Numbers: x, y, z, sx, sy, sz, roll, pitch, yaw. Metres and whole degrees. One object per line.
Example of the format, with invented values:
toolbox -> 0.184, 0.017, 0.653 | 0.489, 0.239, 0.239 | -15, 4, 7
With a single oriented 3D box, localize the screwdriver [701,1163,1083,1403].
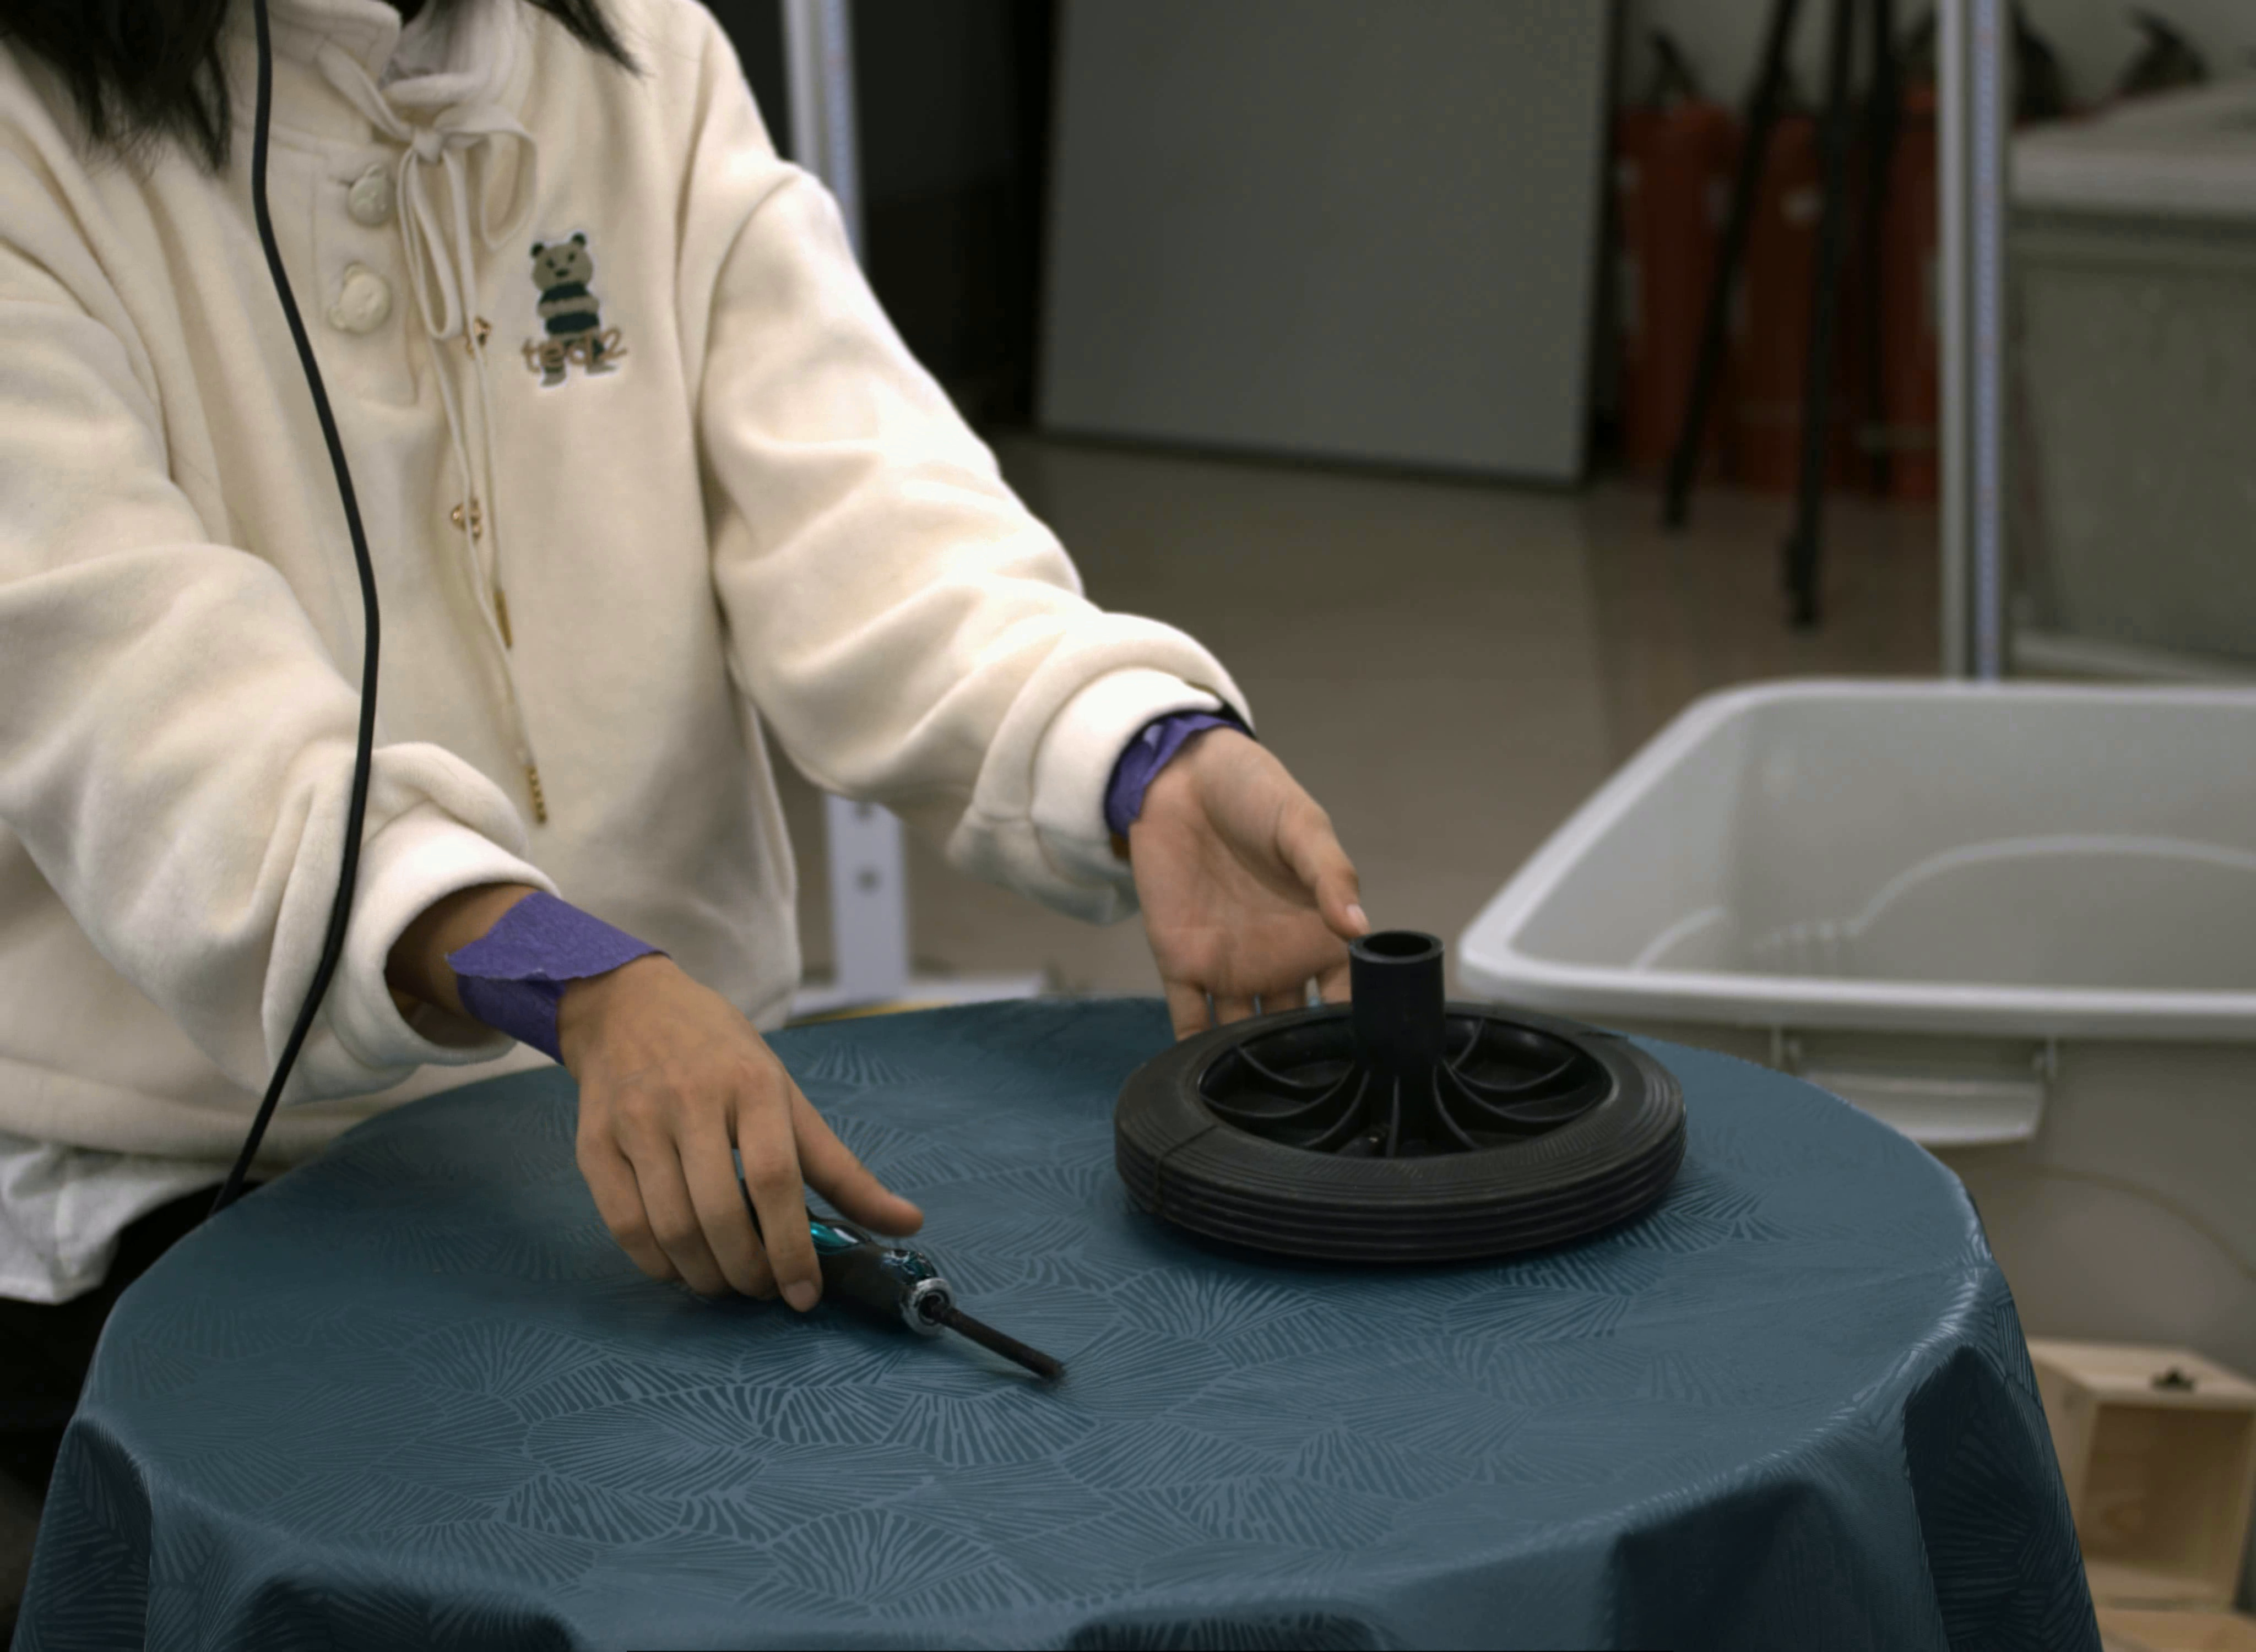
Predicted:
screwdriver -> -0.071, 0.143, 1.651 | 0.033, 0.034, 0.192 | -13, 22, -35

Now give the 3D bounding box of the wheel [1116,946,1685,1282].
wheel -> 0.088, 0.082, 1.744 | 0.185, 0.080, 0.190 | -1, 19, 5
